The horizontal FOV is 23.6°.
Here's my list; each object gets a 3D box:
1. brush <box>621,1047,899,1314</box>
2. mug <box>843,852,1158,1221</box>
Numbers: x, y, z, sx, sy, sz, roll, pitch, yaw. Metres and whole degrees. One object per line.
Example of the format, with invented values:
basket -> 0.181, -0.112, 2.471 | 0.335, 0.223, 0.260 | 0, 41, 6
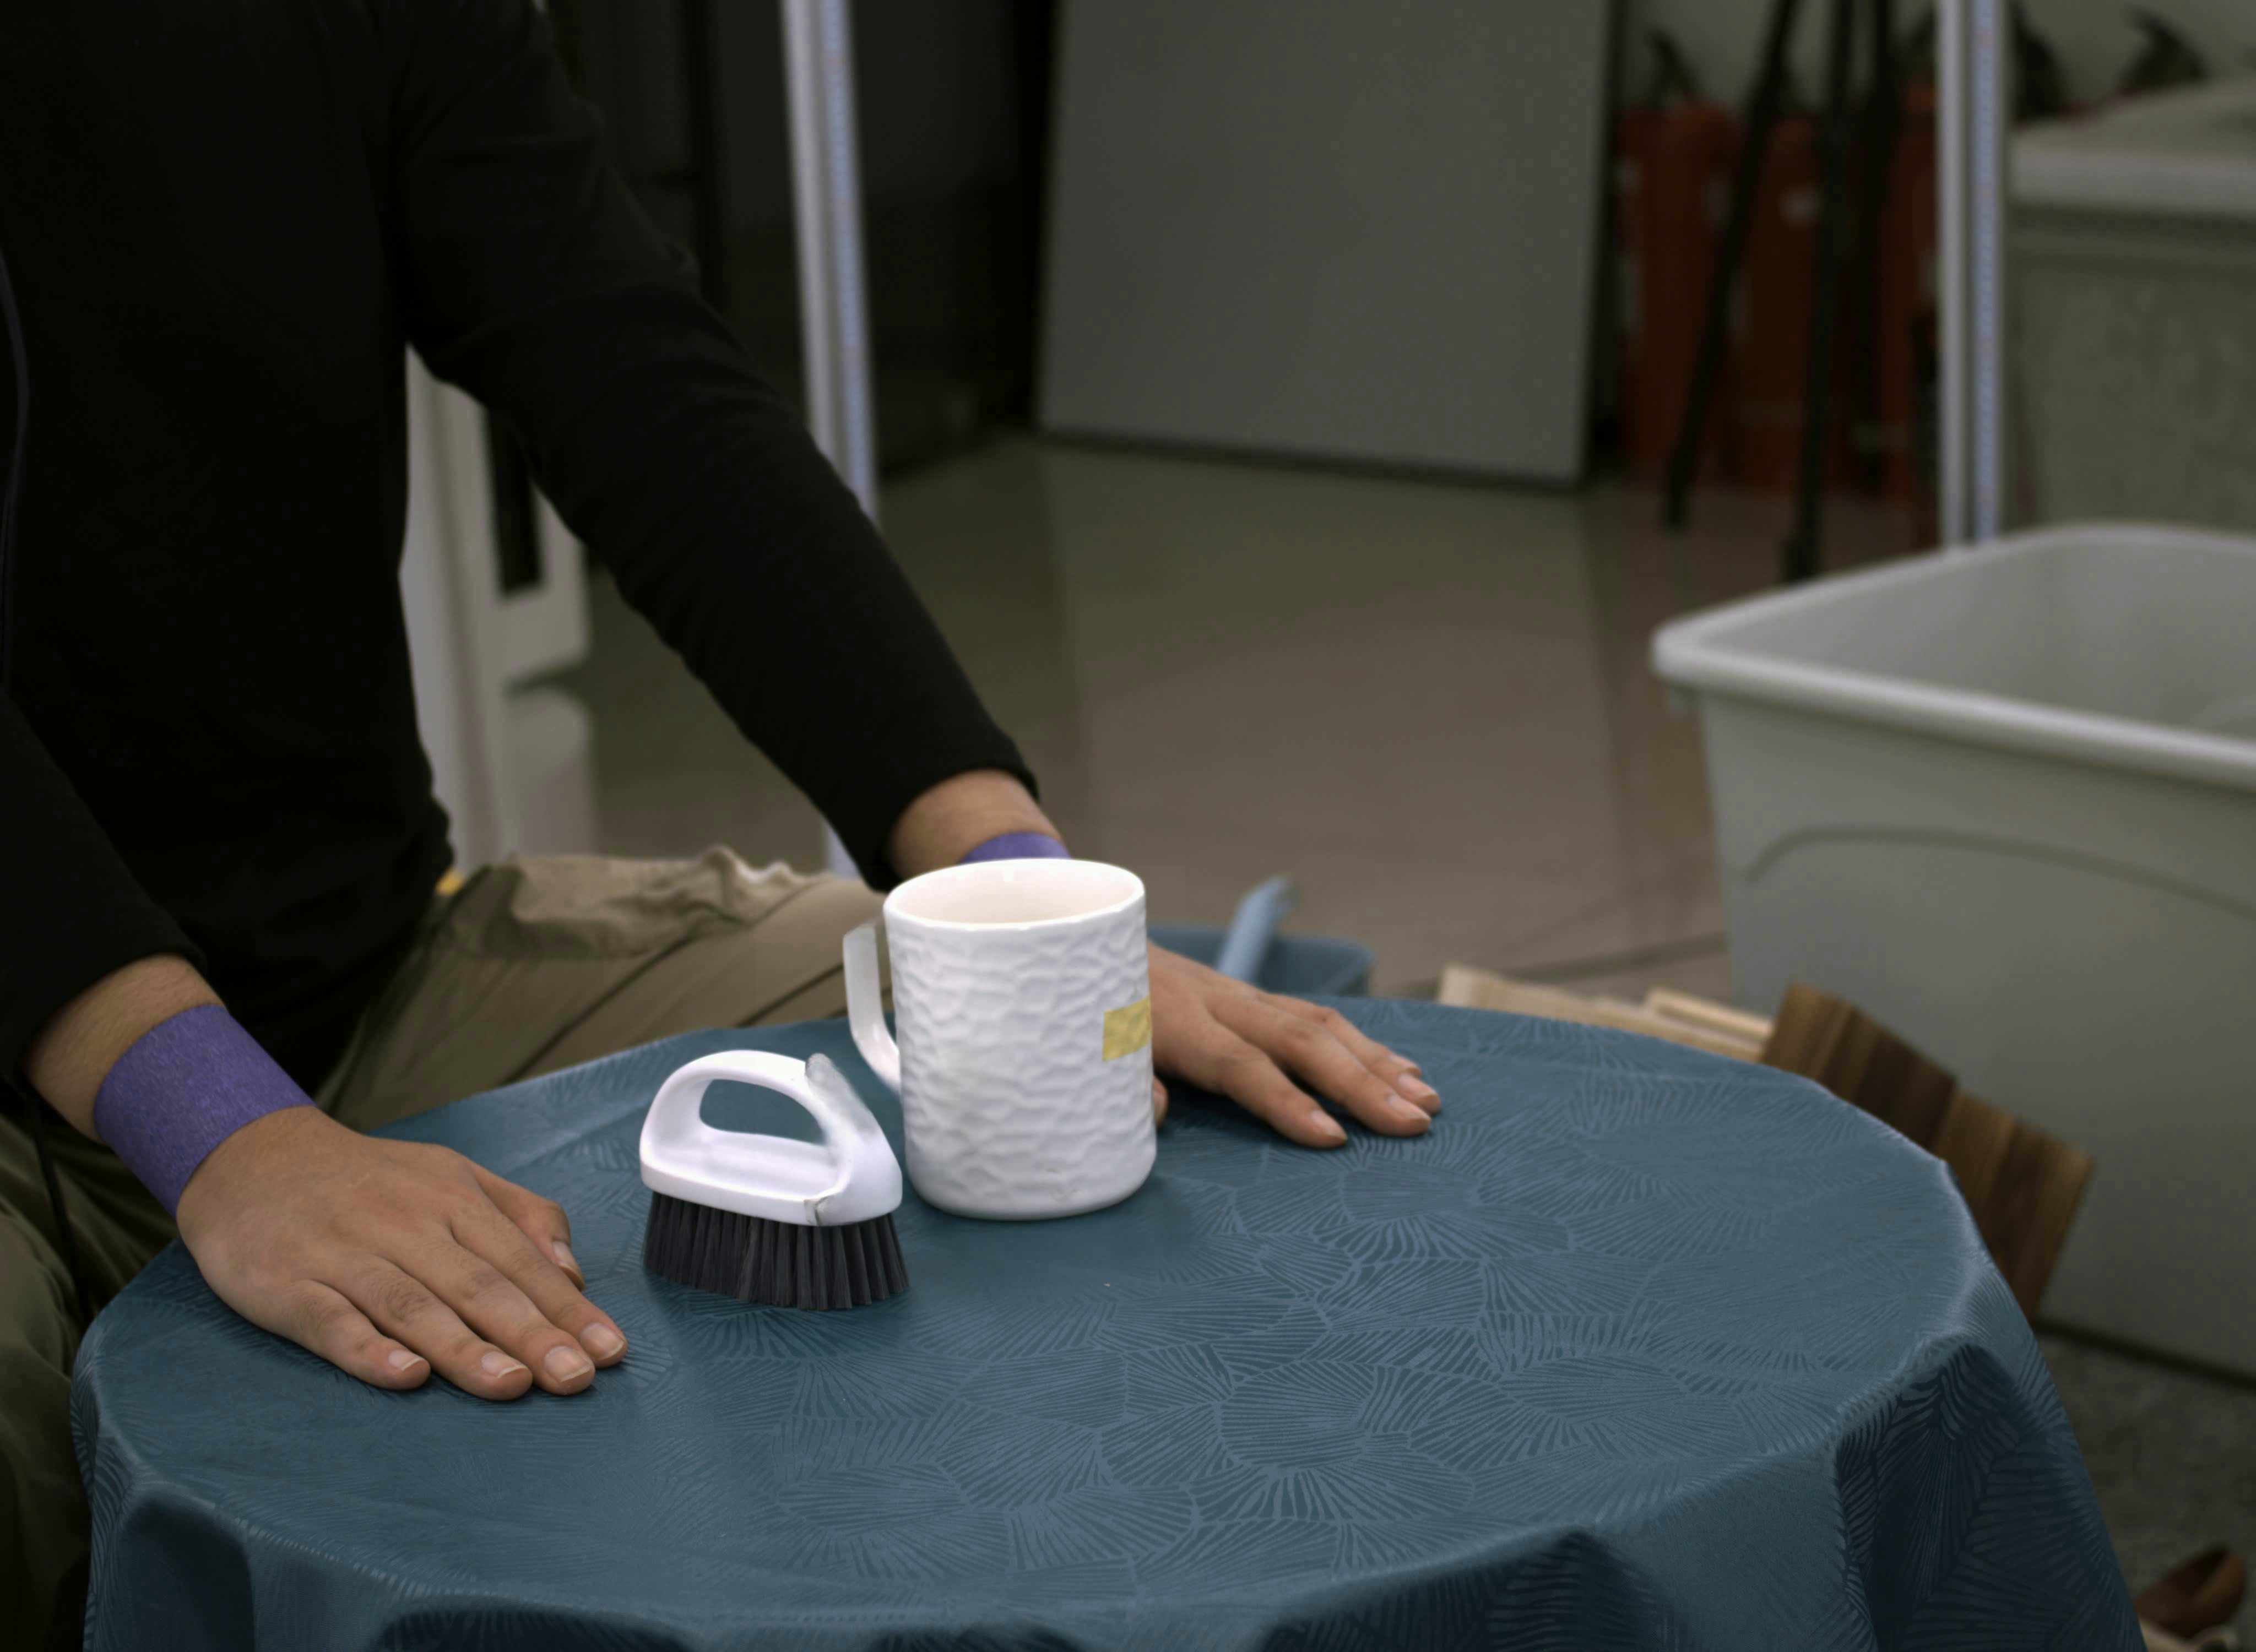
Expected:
brush -> -0.116, 0.107, 1.702 | 0.100, 0.073, 0.049 | 10, 15, 34
mug -> -0.046, 0.067, 1.780 | 0.119, 0.103, 0.083 | 7, 18, 39
